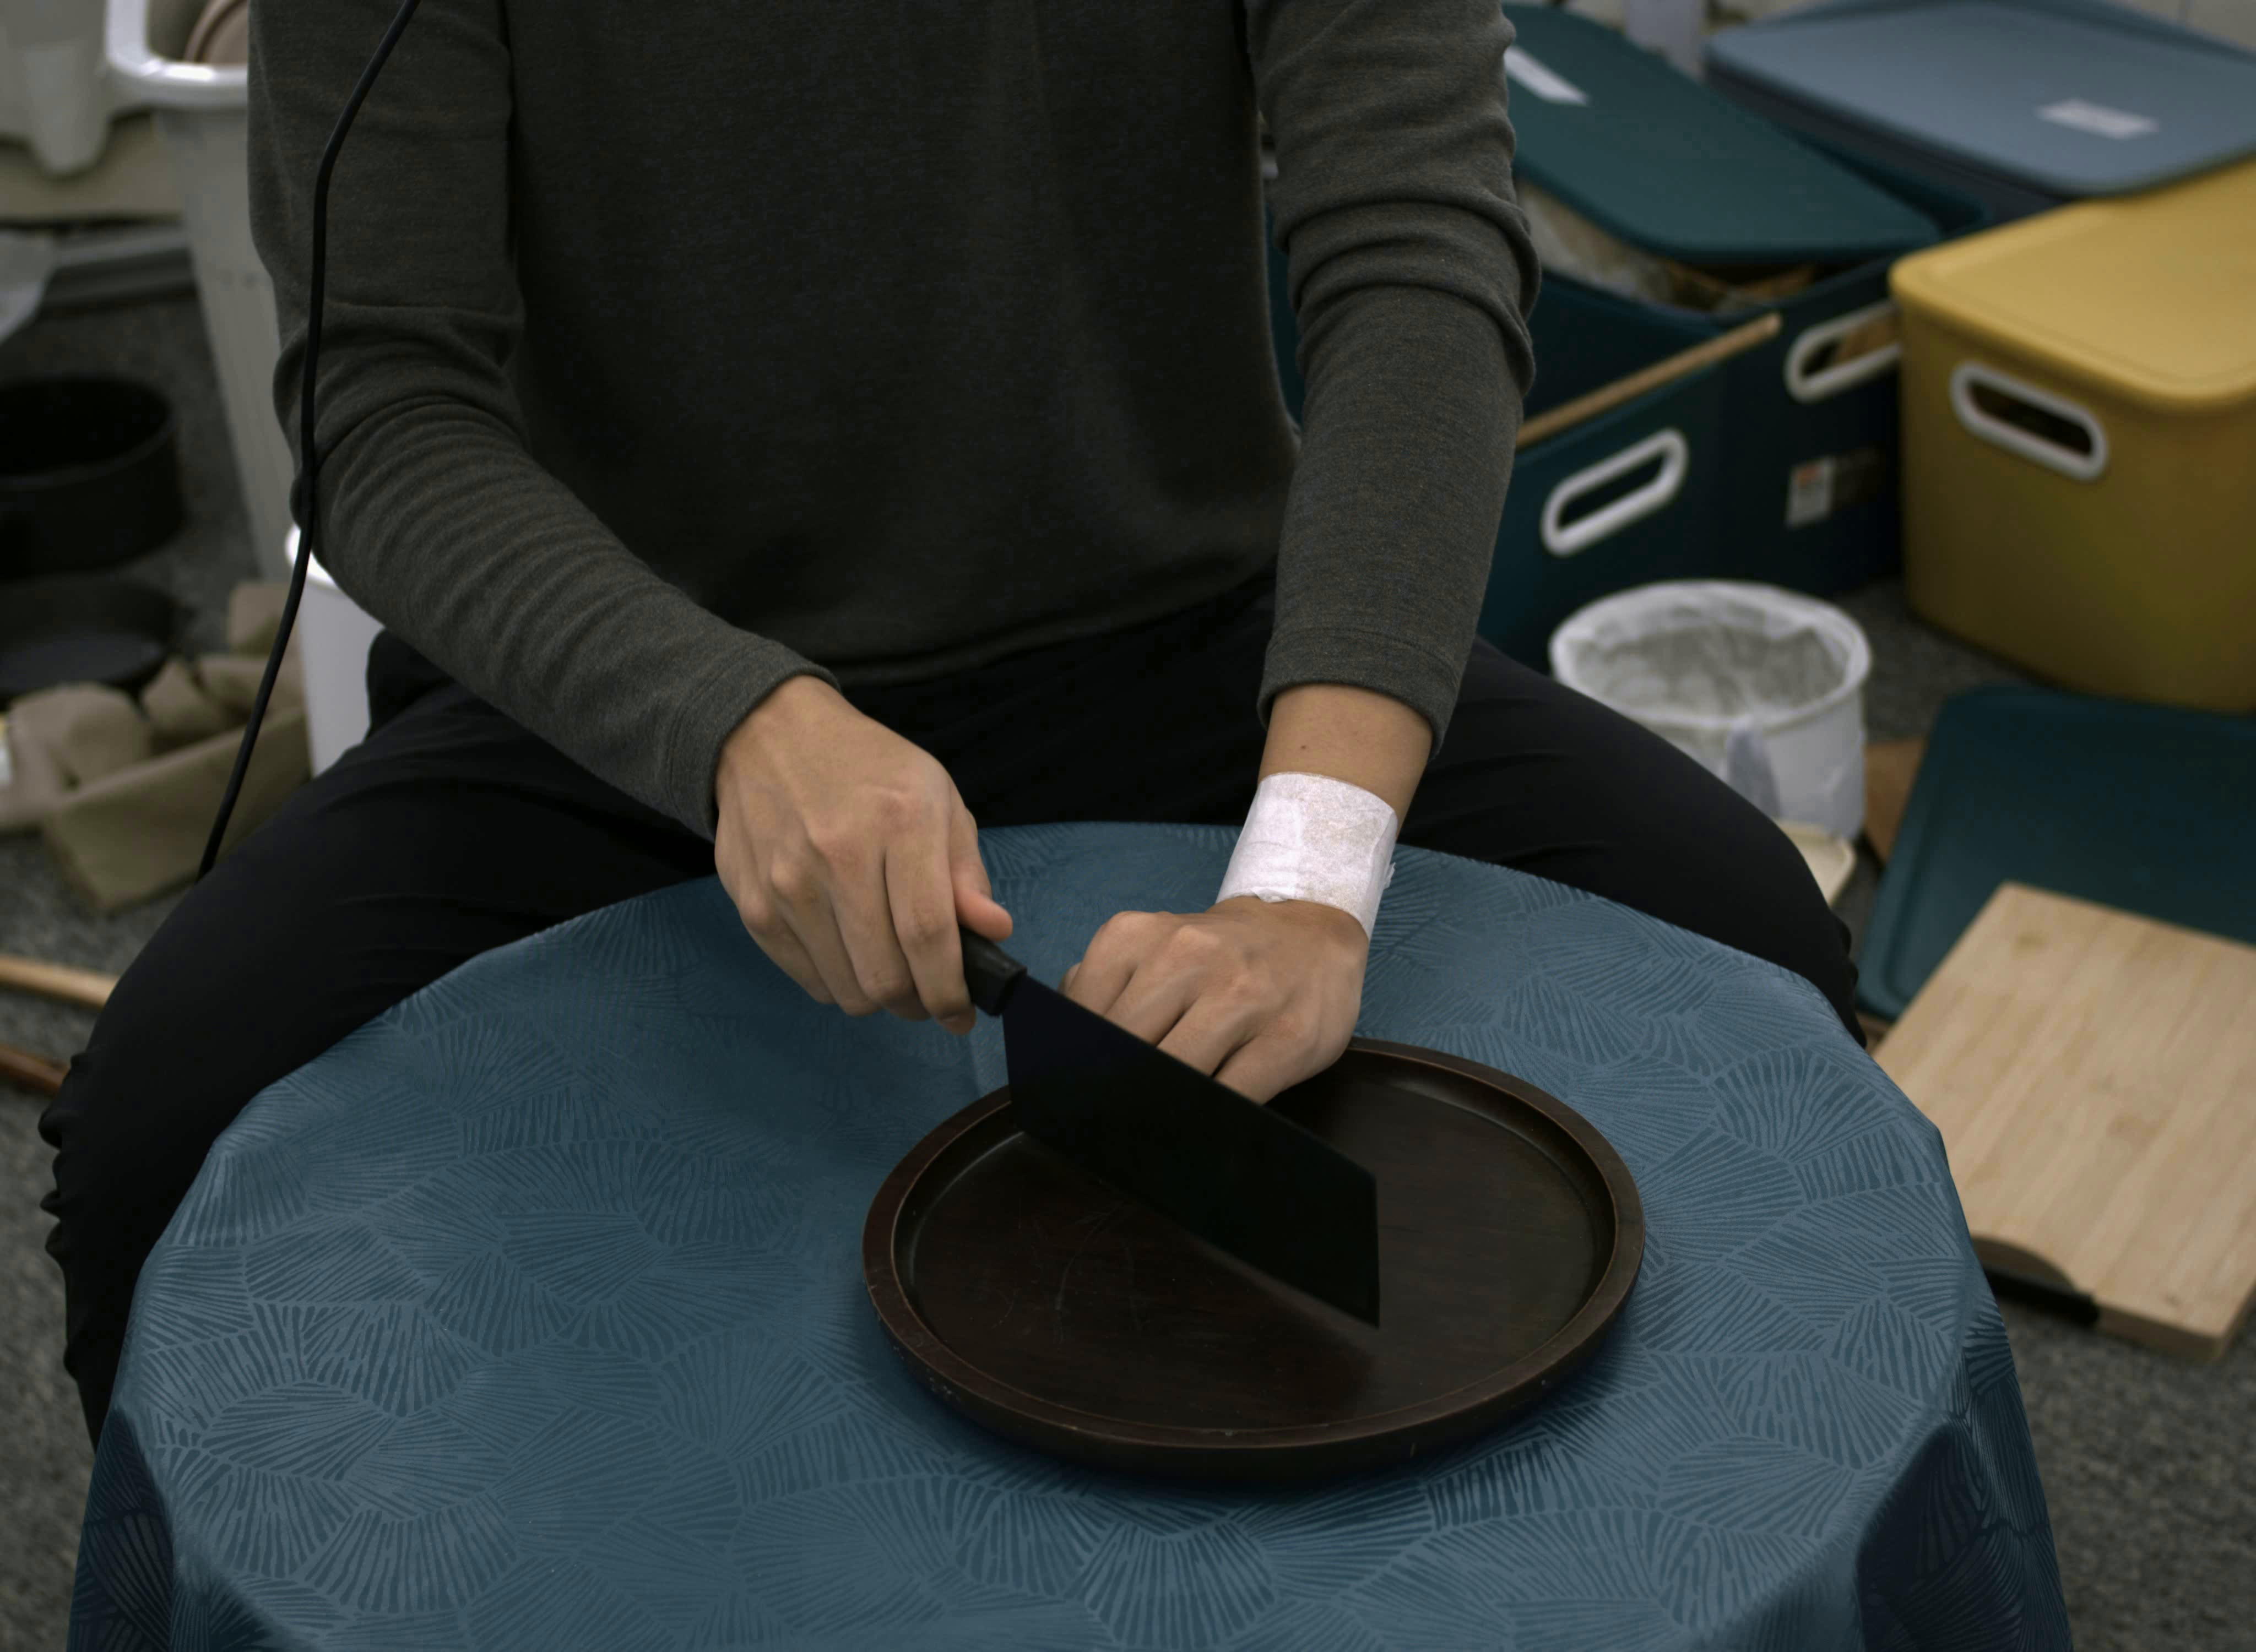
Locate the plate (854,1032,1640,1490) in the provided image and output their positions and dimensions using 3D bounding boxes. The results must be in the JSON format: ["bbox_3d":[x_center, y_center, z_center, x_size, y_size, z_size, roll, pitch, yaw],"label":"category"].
[{"bbox_3d":[0.038,0.137,1.804,0.253,0.029,0.259,-3,28,2],"label":"plate"}]

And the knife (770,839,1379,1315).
[{"bbox_3d":[-0.020,0.075,1.830,0.021,0.080,0.303,-23,38,-34],"label":"knife"}]
